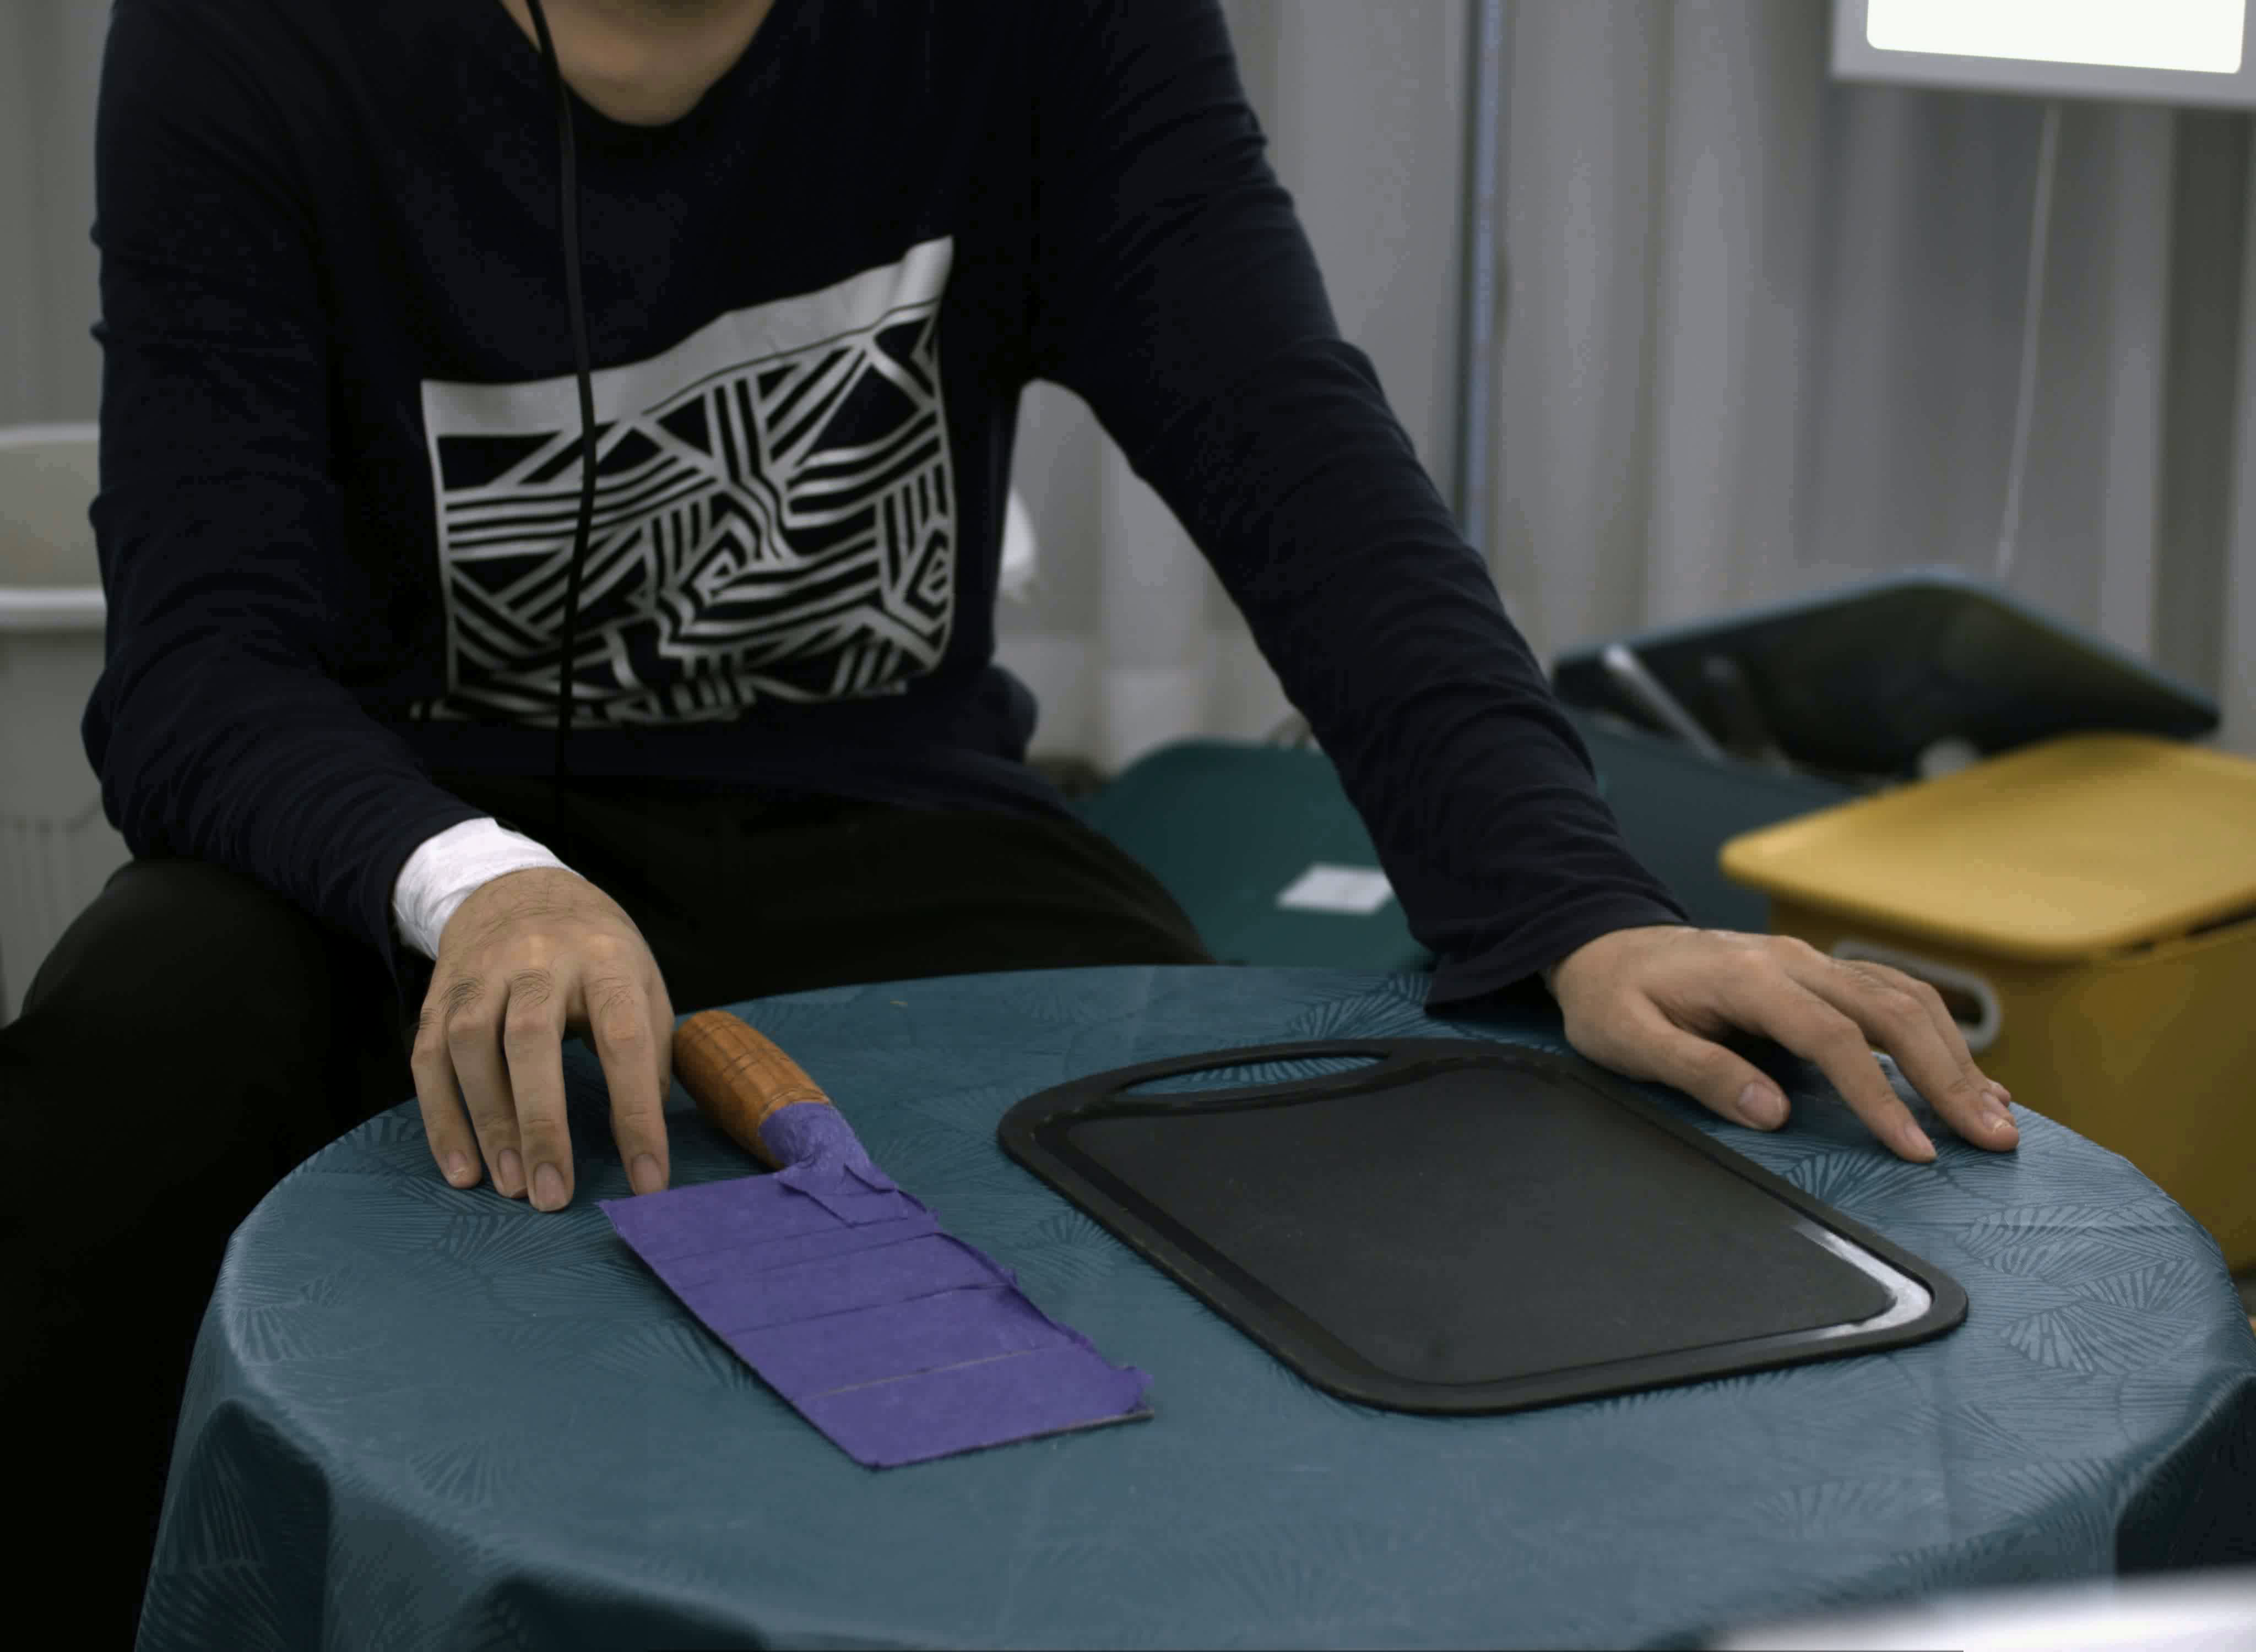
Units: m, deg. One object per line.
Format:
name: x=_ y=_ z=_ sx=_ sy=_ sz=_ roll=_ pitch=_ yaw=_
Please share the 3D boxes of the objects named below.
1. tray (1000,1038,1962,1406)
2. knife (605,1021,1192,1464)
tray: x=0.096 y=0.113 z=1.612 sx=0.212 sy=0.010 sz=0.321 roll=-6 pitch=16 yaw=-23
knife: x=-0.096 y=0.118 z=1.550 sx=0.104 sy=0.032 sz=0.311 roll=-7 pitch=17 yaw=-26
